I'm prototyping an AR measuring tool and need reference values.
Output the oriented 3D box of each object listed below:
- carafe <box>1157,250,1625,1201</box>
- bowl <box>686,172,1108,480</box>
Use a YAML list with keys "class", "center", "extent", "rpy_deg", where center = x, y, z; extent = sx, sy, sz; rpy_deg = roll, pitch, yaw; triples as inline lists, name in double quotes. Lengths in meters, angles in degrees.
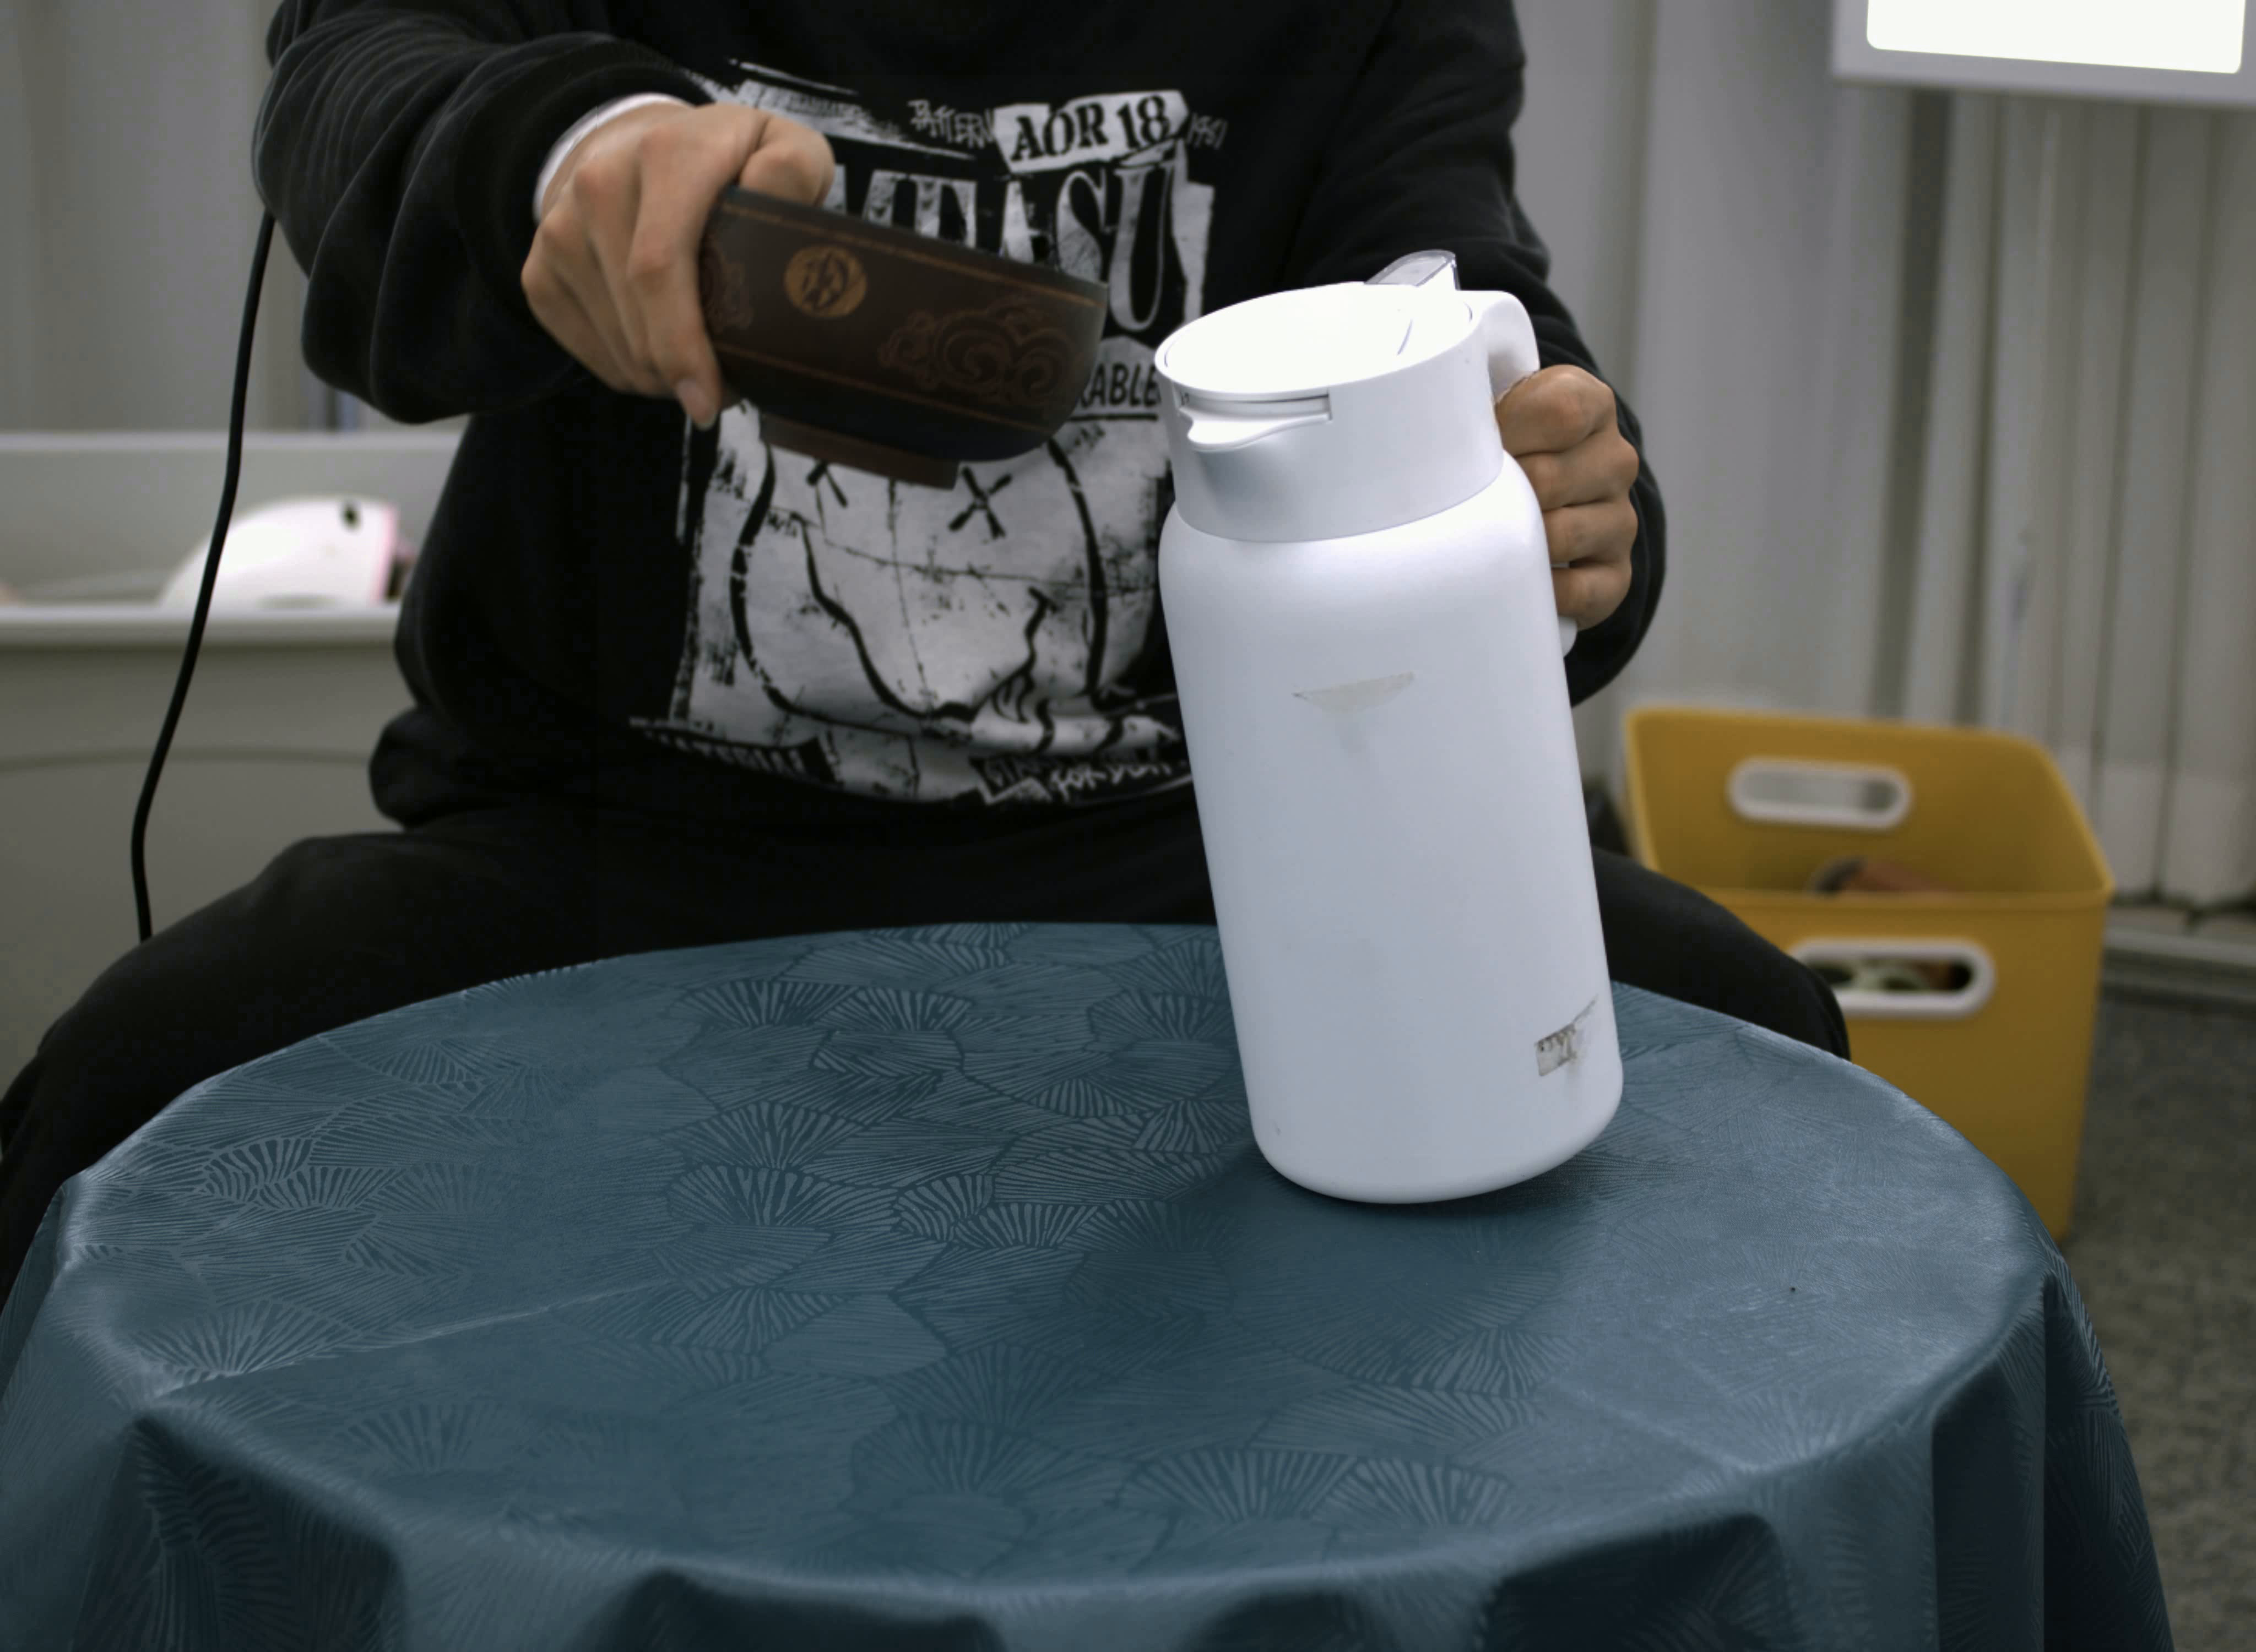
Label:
- class: "carafe"
  center: [0.085, -0.034, 1.613]
  extent: [0.122, 0.272, 0.173]
  rpy_deg: [3, 26, 32]
- class: "bowl"
  center: [-0.069, -0.138, 1.487]
  extent: [0.118, 0.070, 0.118]
  rpy_deg: [14, 4, -1]
